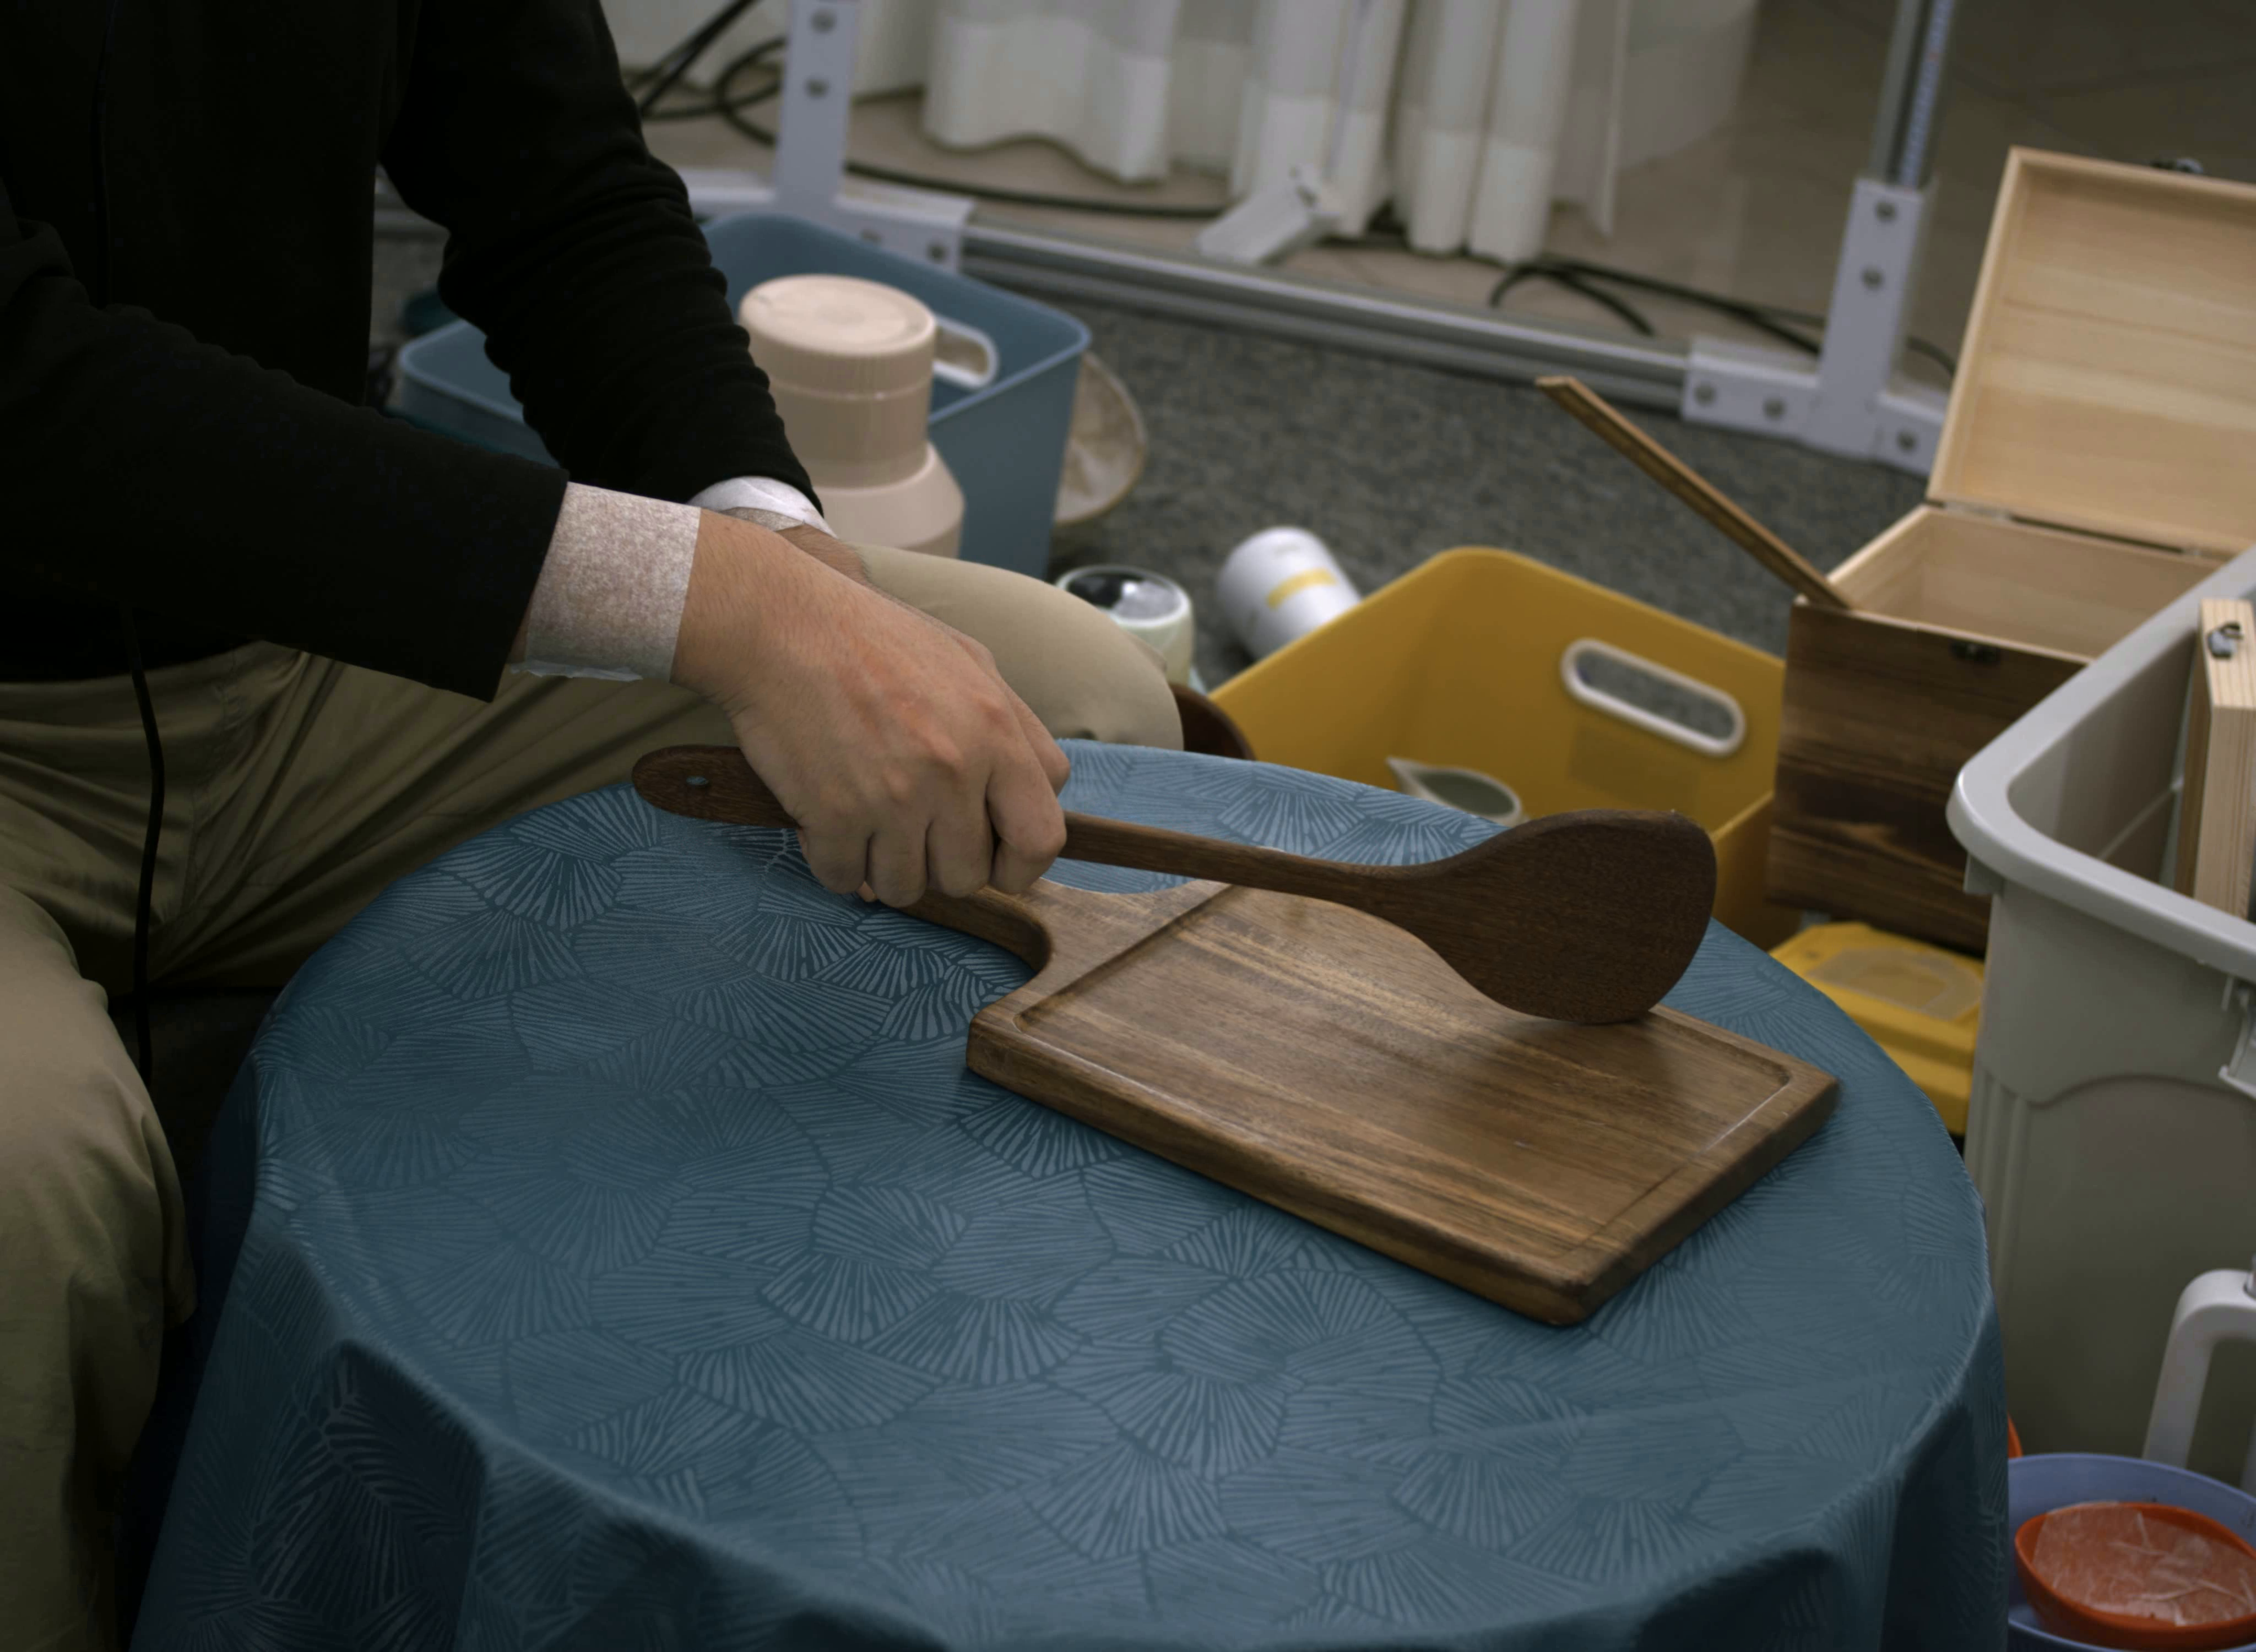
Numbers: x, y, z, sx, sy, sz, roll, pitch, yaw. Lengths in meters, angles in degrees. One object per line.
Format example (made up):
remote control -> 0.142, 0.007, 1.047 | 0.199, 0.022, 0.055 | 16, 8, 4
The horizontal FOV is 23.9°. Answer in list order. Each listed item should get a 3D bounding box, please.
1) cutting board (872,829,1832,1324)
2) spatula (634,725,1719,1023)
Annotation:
cutting board -> 0.056, 0.069, 1.898 | 0.354, 0.023, 0.200 | 22, 30, 27
spatula -> 0.018, 0.006, 1.858 | 0.384, 0.096, 0.016 | 10, 35, -8
